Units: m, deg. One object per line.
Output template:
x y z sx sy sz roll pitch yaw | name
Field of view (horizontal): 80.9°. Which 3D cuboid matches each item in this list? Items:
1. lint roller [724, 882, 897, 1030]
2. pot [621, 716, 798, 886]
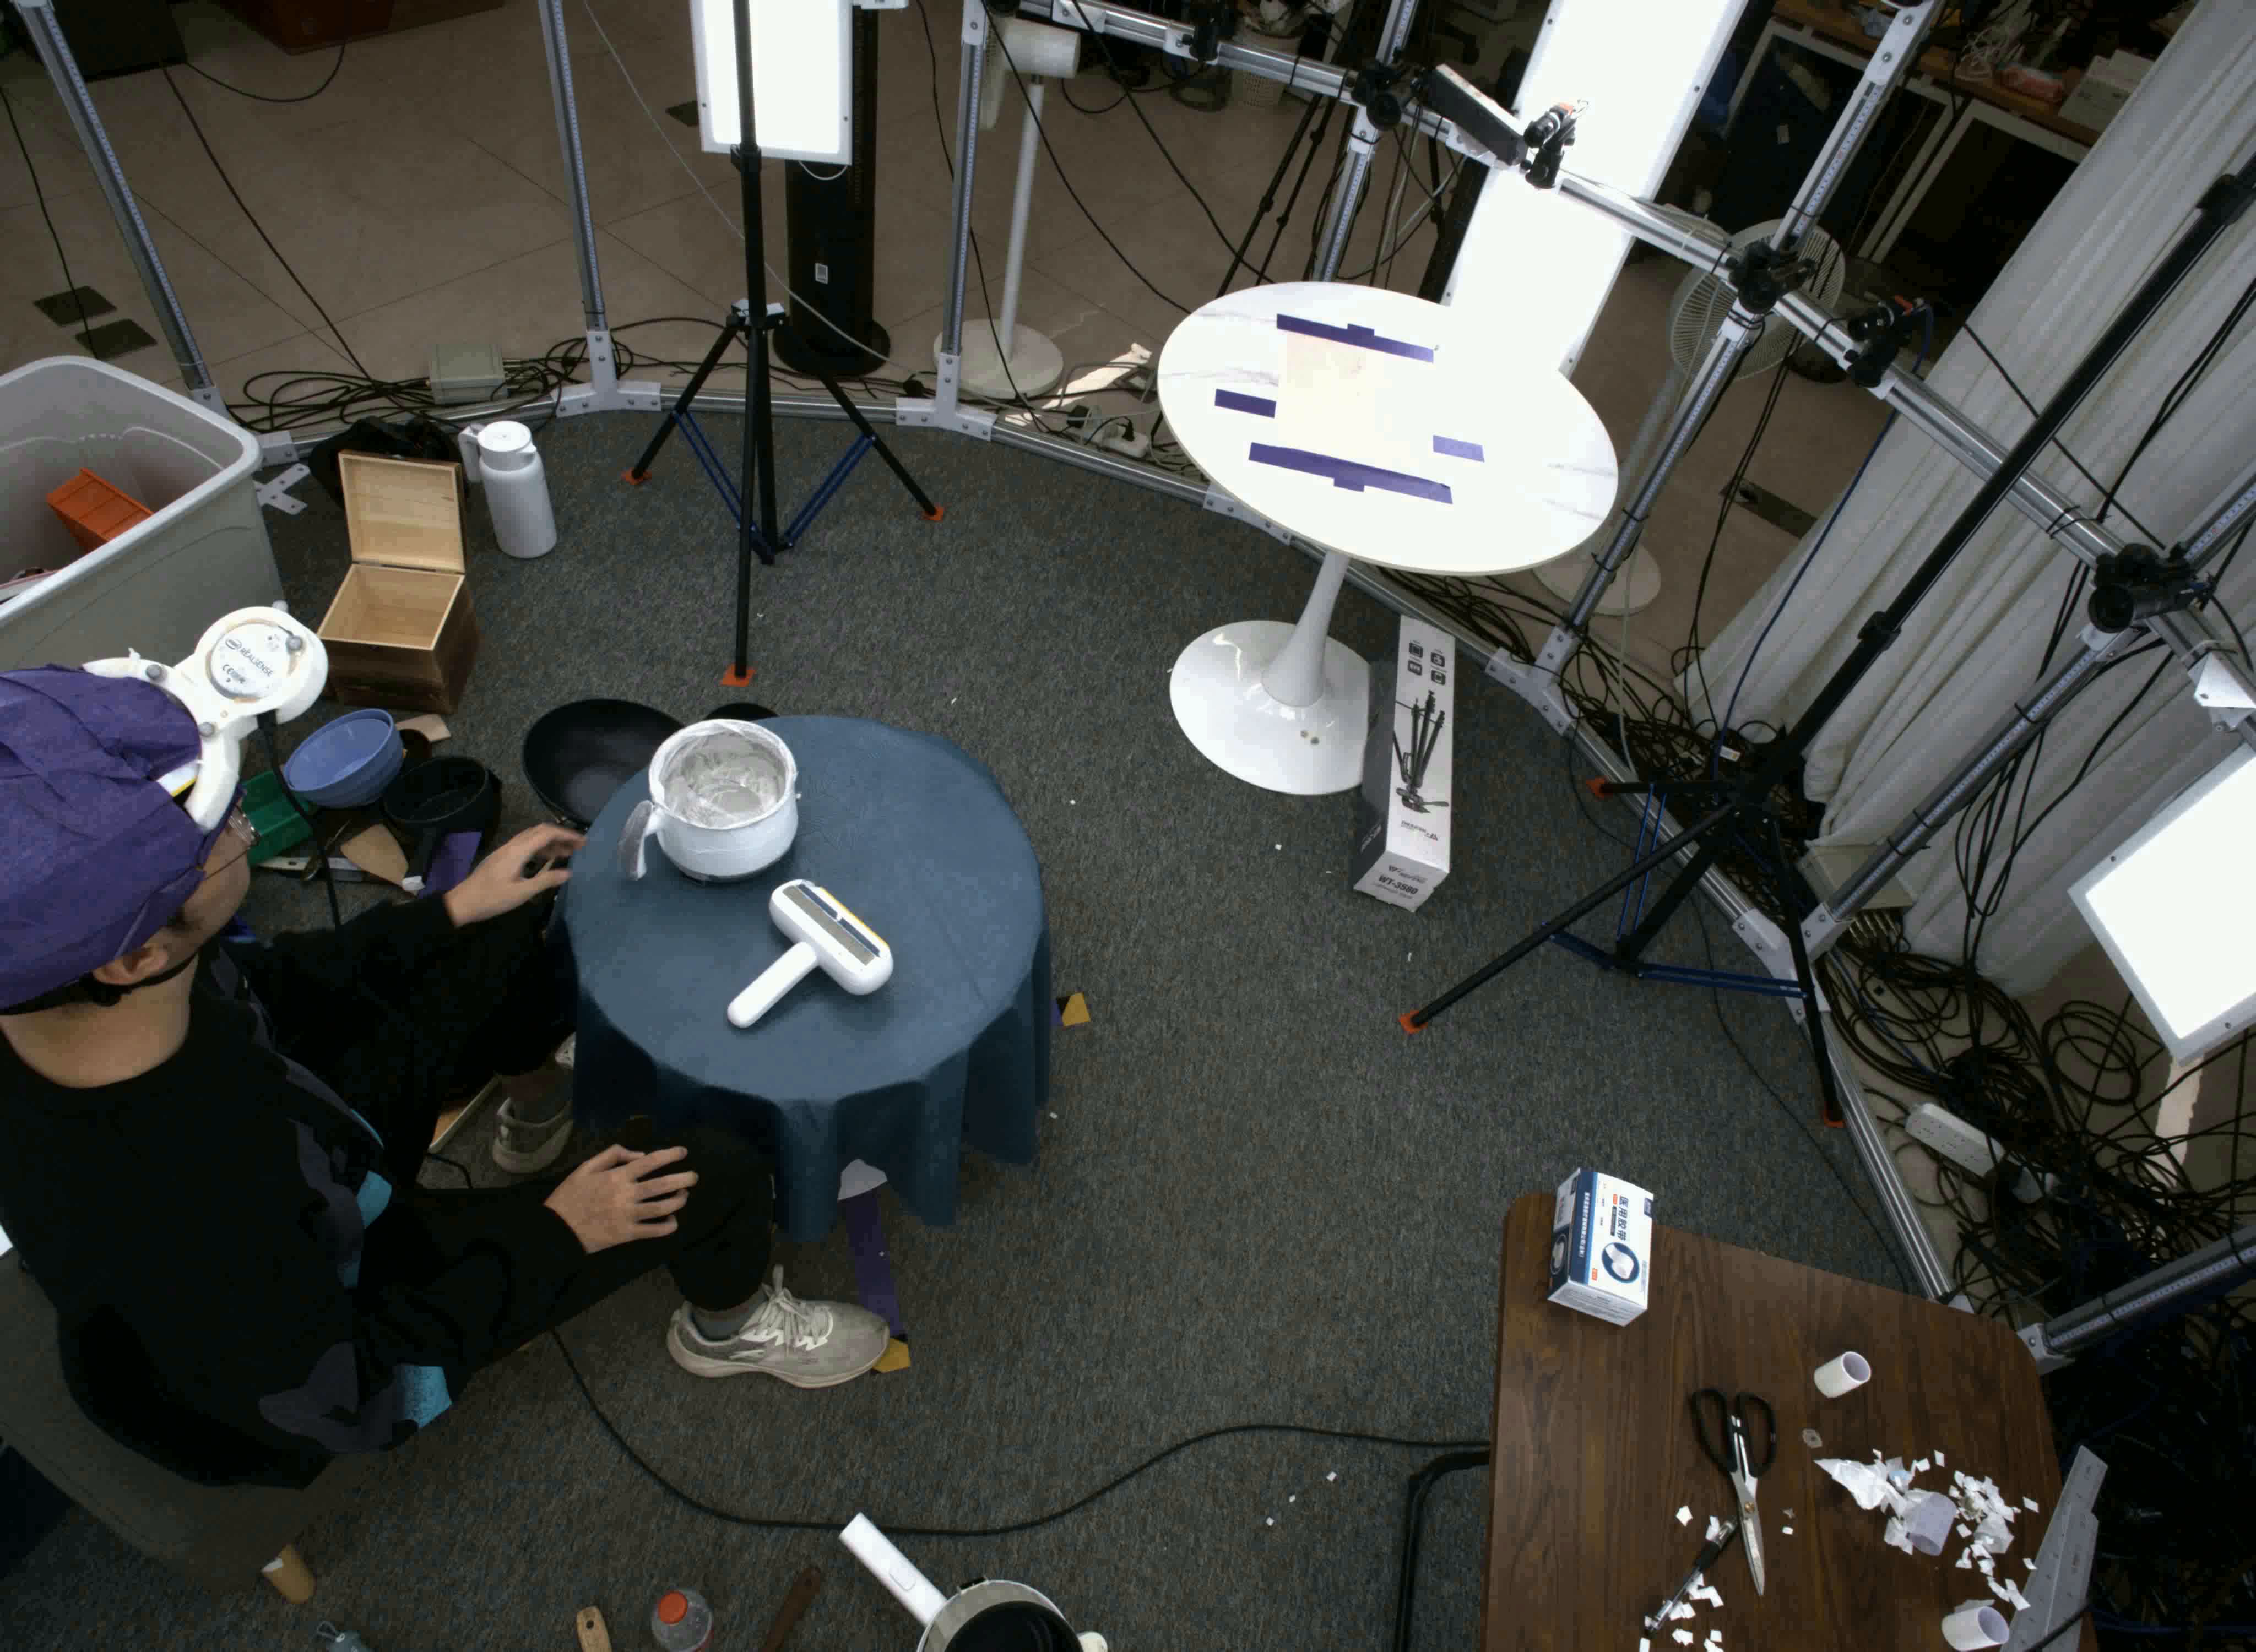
-0.403 0.170 1.566 0.193 0.076 0.187 -33 62 -30 | lint roller
-0.531 -0.019 1.625 0.235 0.139 0.174 -29 63 -32 | pot
